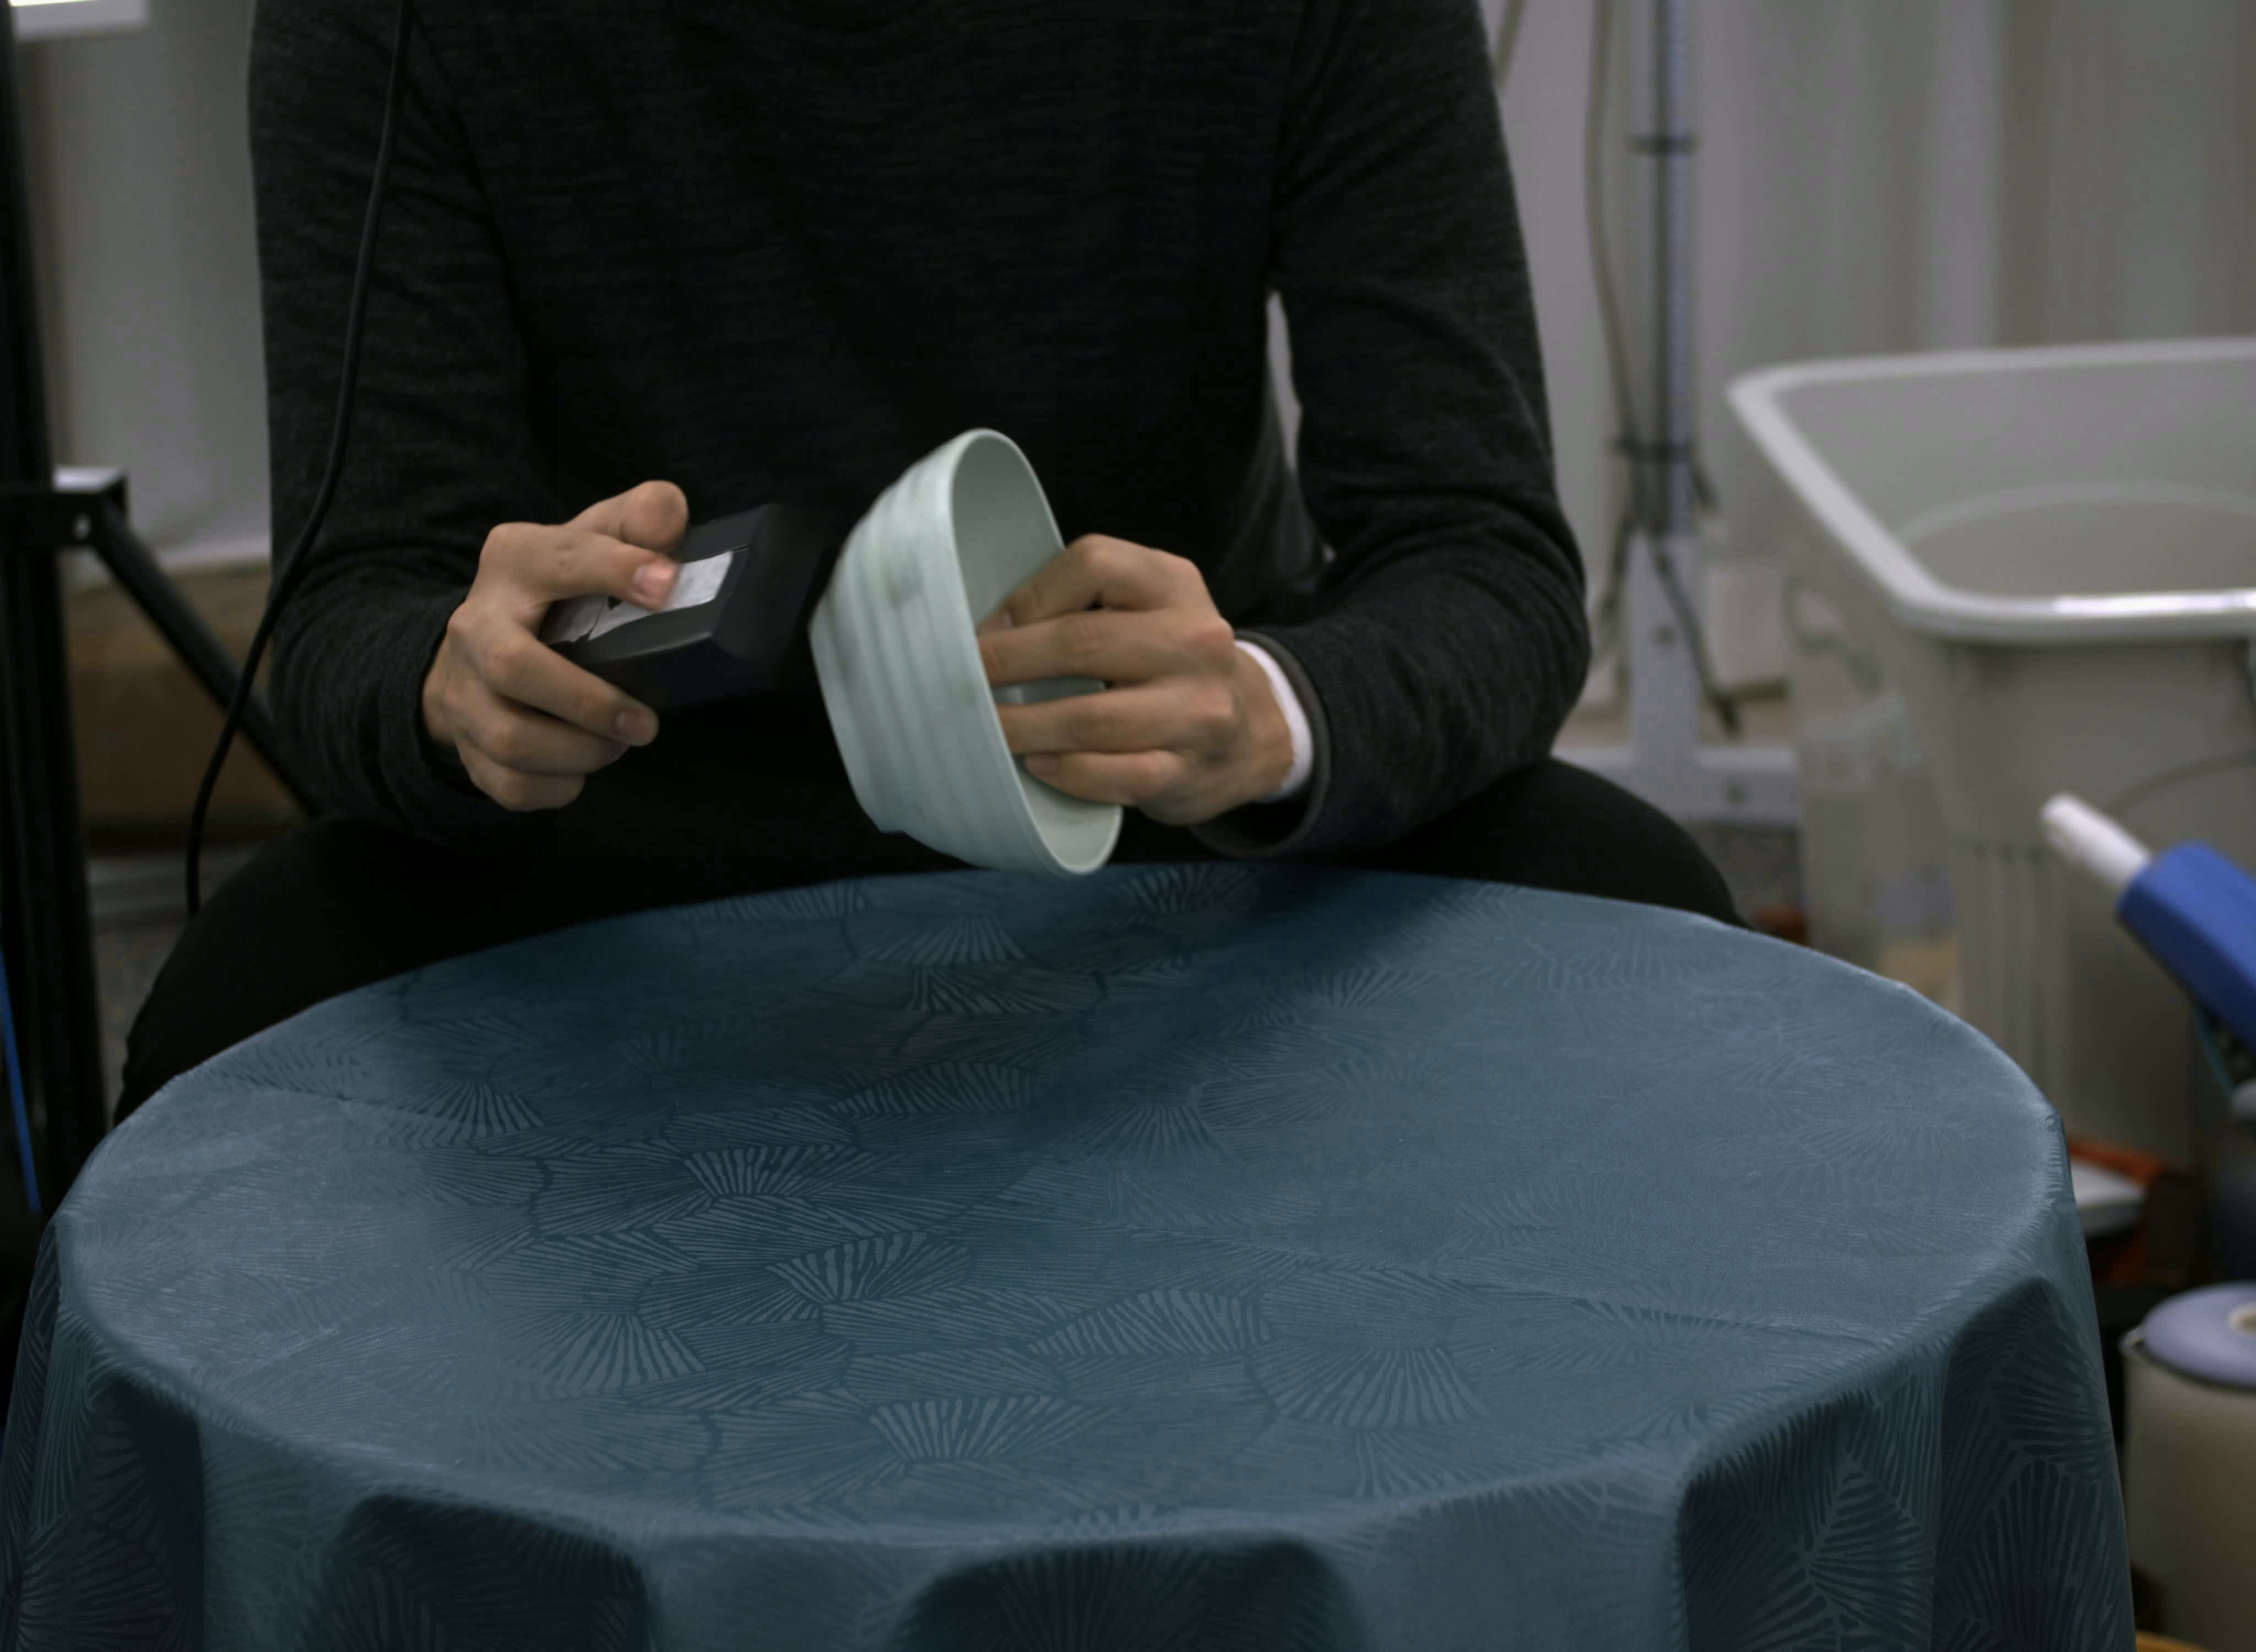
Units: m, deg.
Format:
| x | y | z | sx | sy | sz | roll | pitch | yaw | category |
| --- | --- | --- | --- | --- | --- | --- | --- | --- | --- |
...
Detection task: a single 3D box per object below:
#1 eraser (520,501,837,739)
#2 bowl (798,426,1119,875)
| x | y | z | sx | sy | sz | roll | pitch | yaw | category |
| --- | --- | --- | --- | --- | --- | --- | --- | --- | --- |
| -0.138 | -0.062 | 1.634 | 0.030 | 0.053 | 0.128 | 34 | -25 | -26 | eraser |
| -0.056 | -0.048 | 1.631 | 0.059 | 0.151 | 0.150 | -15 | 12 | 16 | bowl |
